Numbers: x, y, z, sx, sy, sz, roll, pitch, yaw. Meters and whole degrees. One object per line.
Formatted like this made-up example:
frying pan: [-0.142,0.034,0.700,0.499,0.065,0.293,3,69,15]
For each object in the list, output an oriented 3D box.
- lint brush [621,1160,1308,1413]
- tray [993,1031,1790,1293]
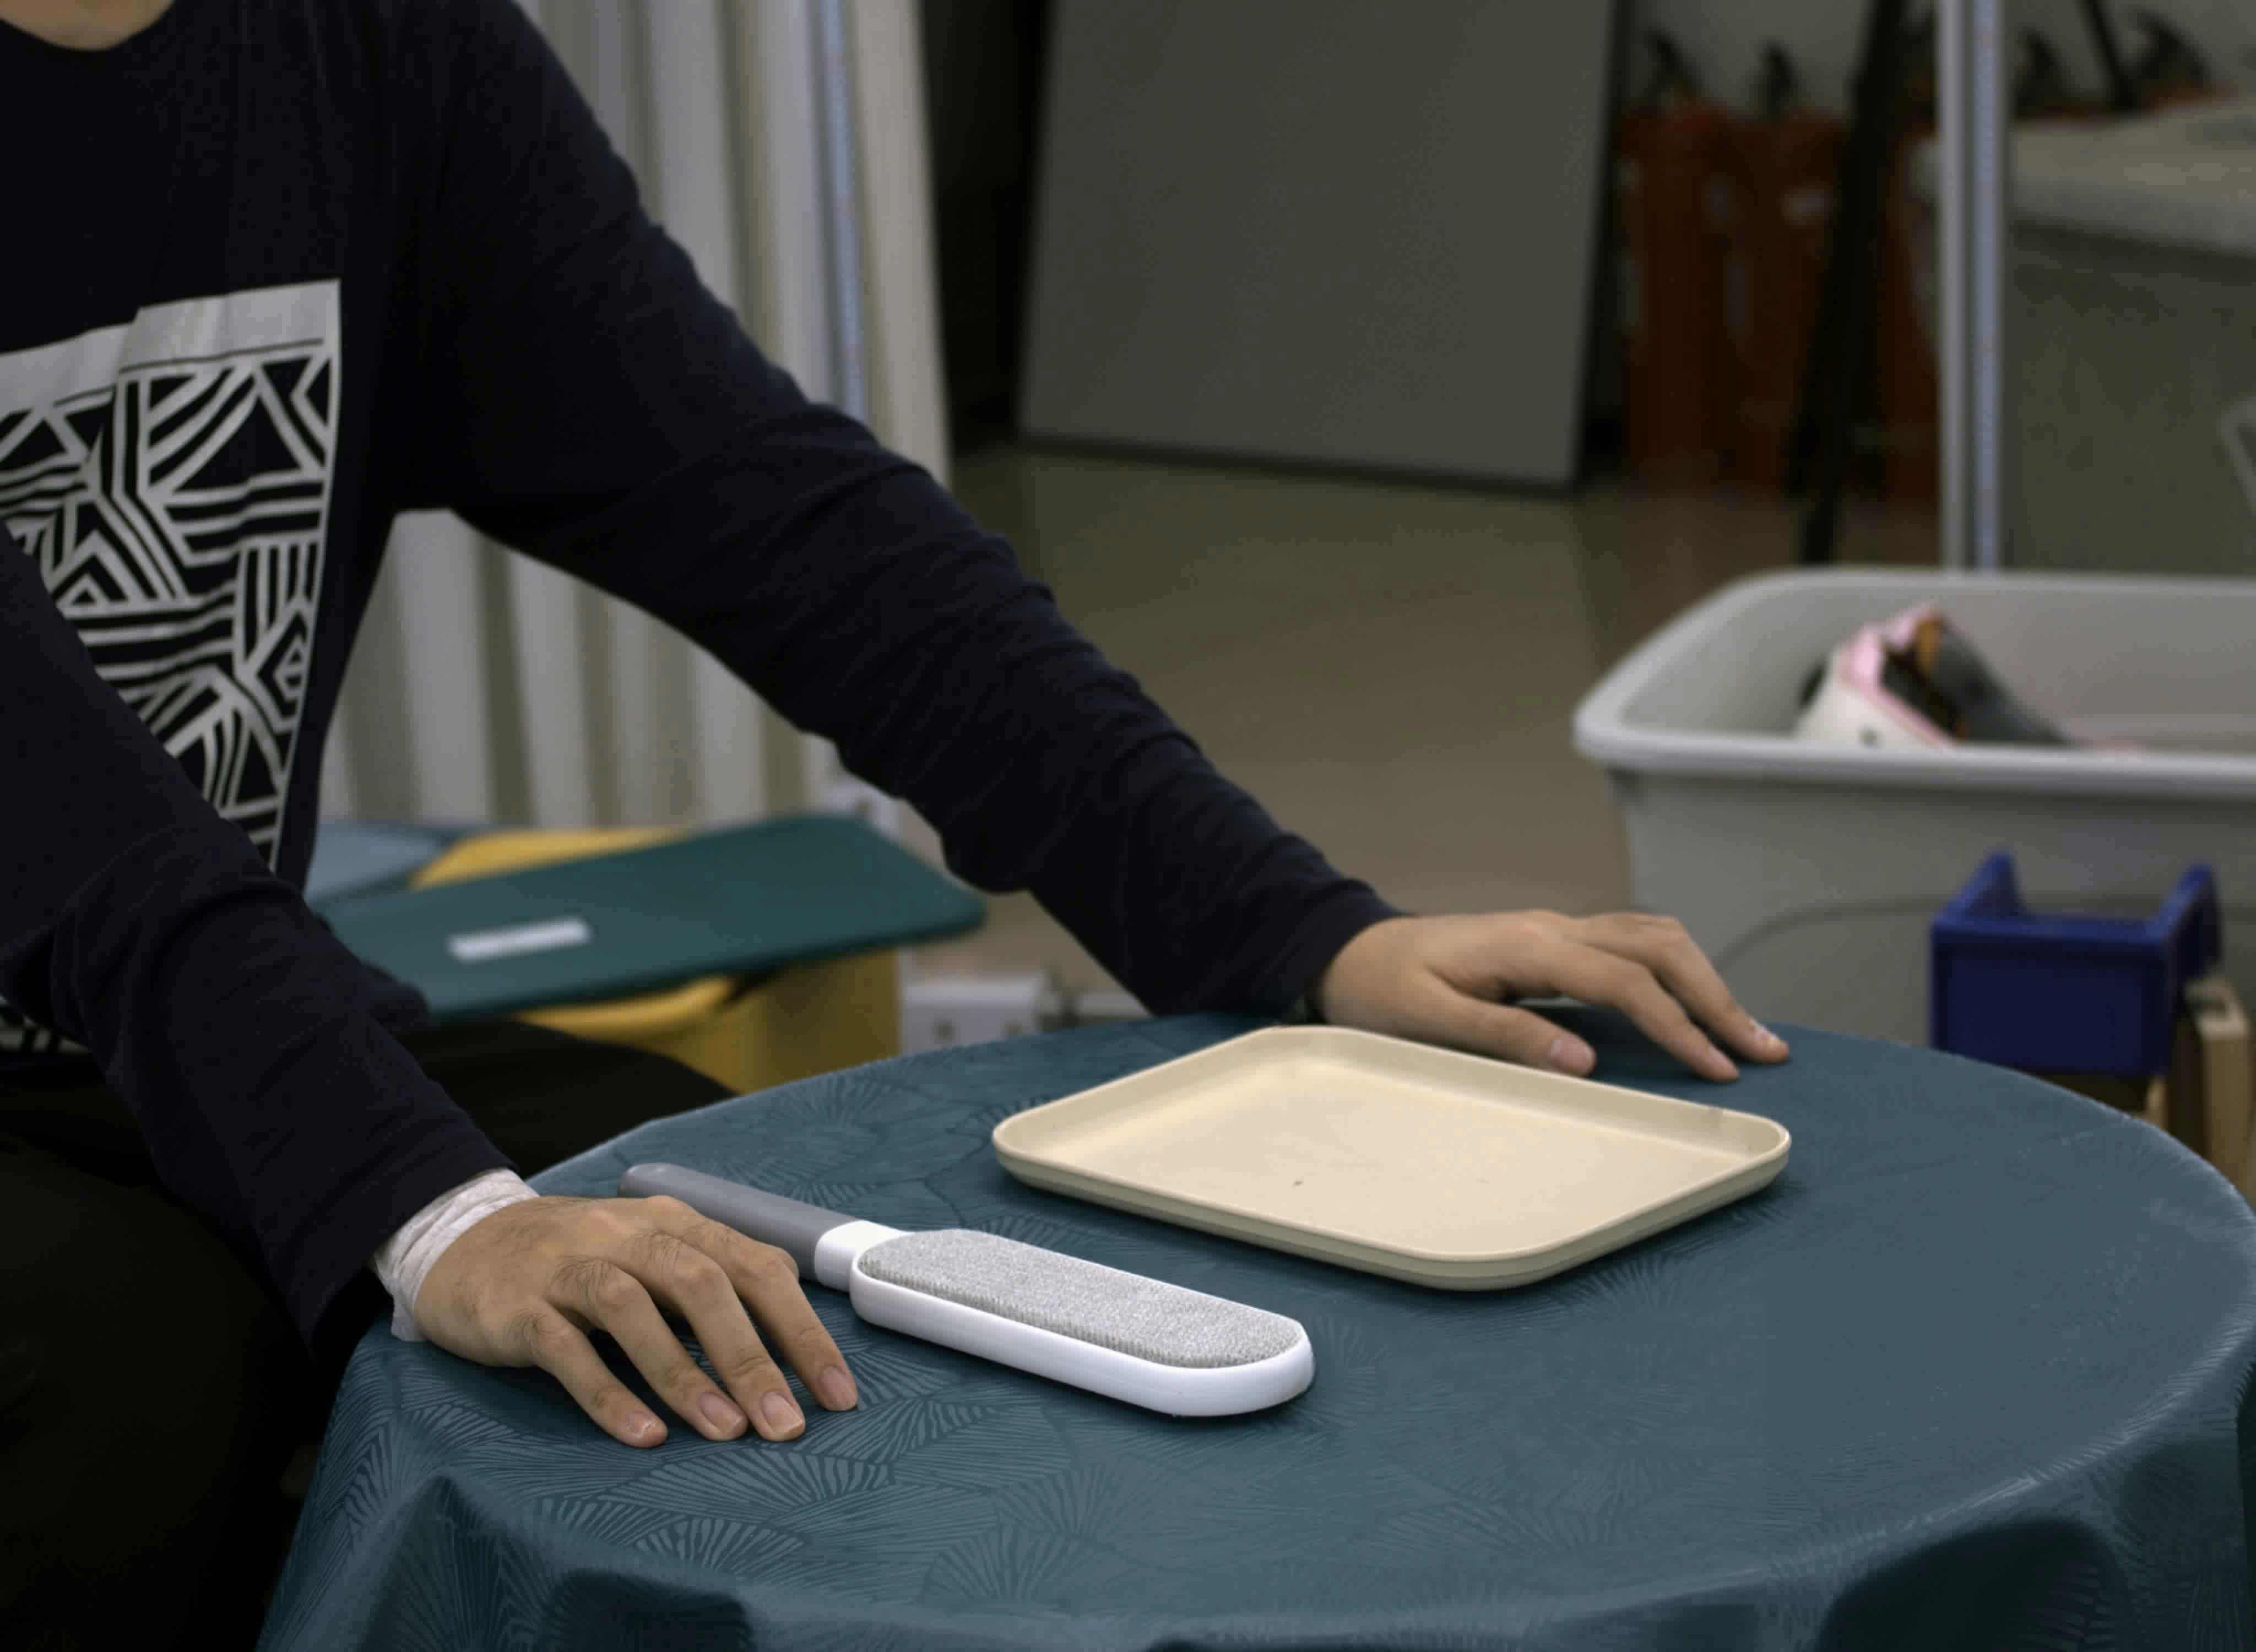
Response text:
lint brush: [-0.058,0.138,1.666,0.059,0.021,0.312,-22,21,-37]
tray: [0.085,0.109,1.764,0.168,0.017,0.242,-18,19,-42]
